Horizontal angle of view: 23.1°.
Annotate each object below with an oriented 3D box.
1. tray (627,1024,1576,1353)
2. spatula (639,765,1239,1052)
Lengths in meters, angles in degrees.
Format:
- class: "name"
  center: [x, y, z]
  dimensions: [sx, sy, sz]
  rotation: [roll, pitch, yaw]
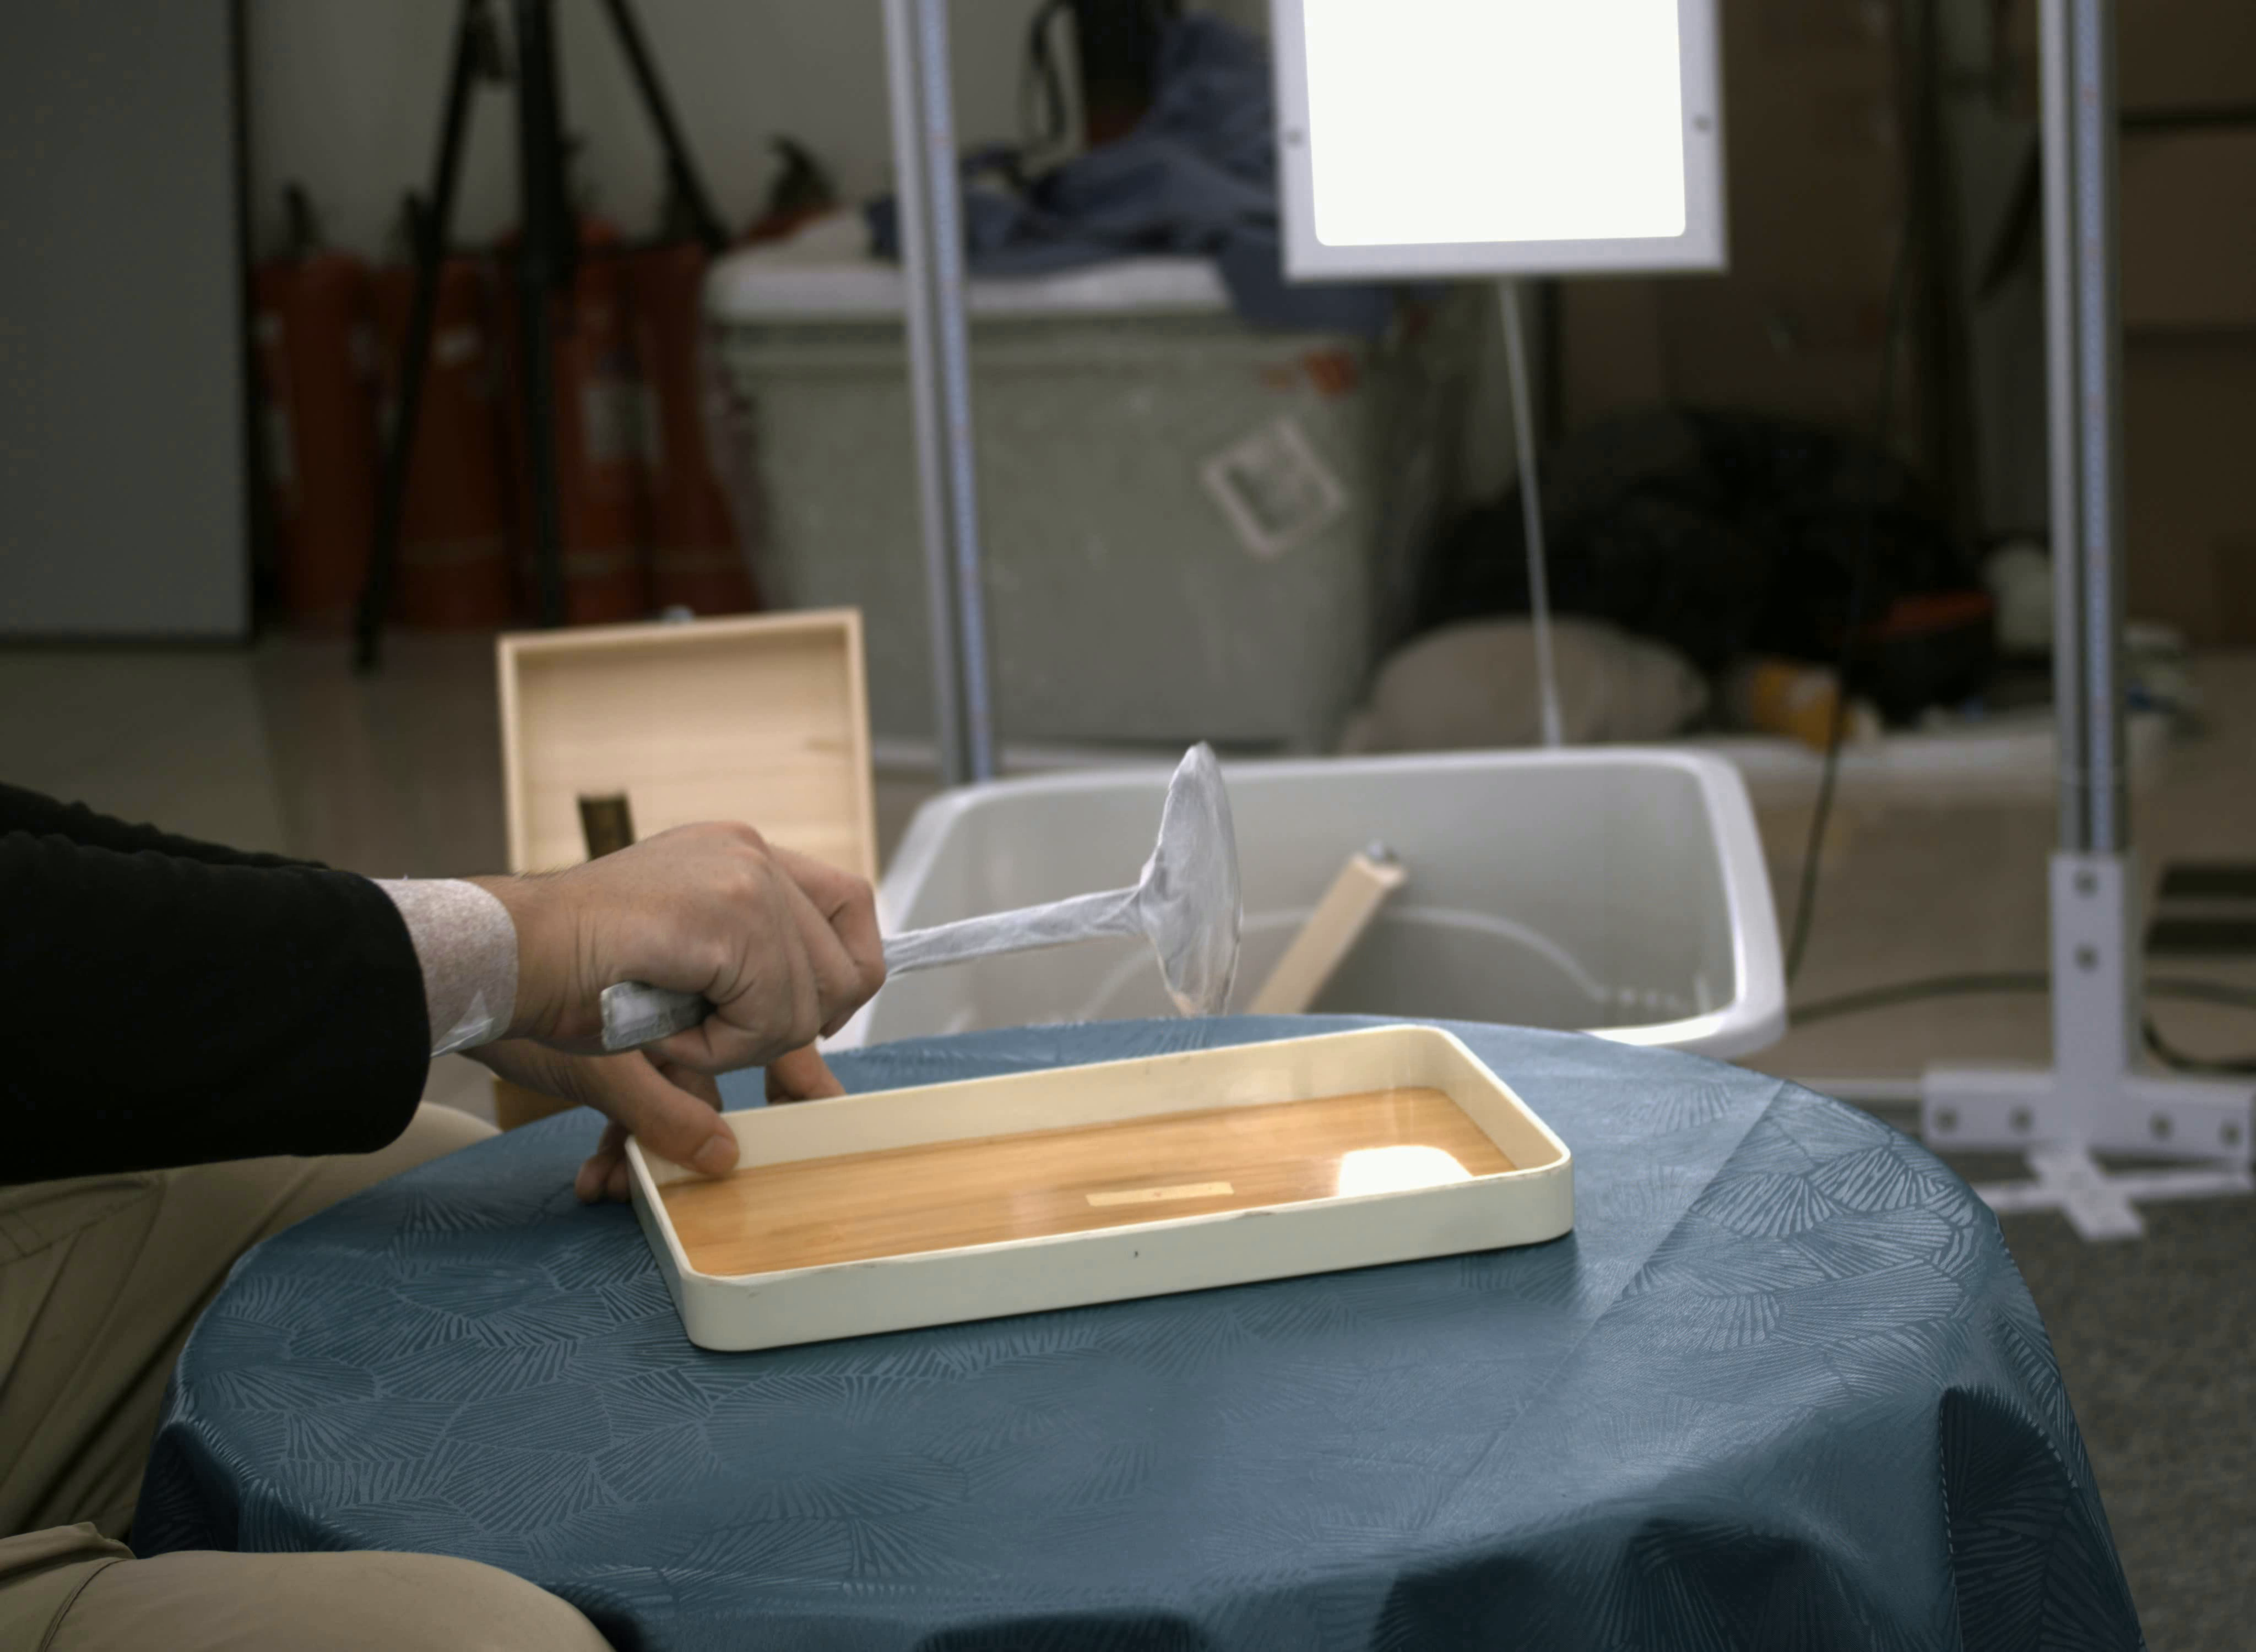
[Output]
- class: "tray"
  center: [-0.013, 0.121, 1.871]
  dimensions: [0.297, 0.027, 0.192]
  rotation: [-7, 14, -8]
- class: "spatula"
  center: [-0.053, 0.037, 1.752]
  dimensions: [0.046, 0.099, 0.356]
  rotation: [-3, 2, 37]
